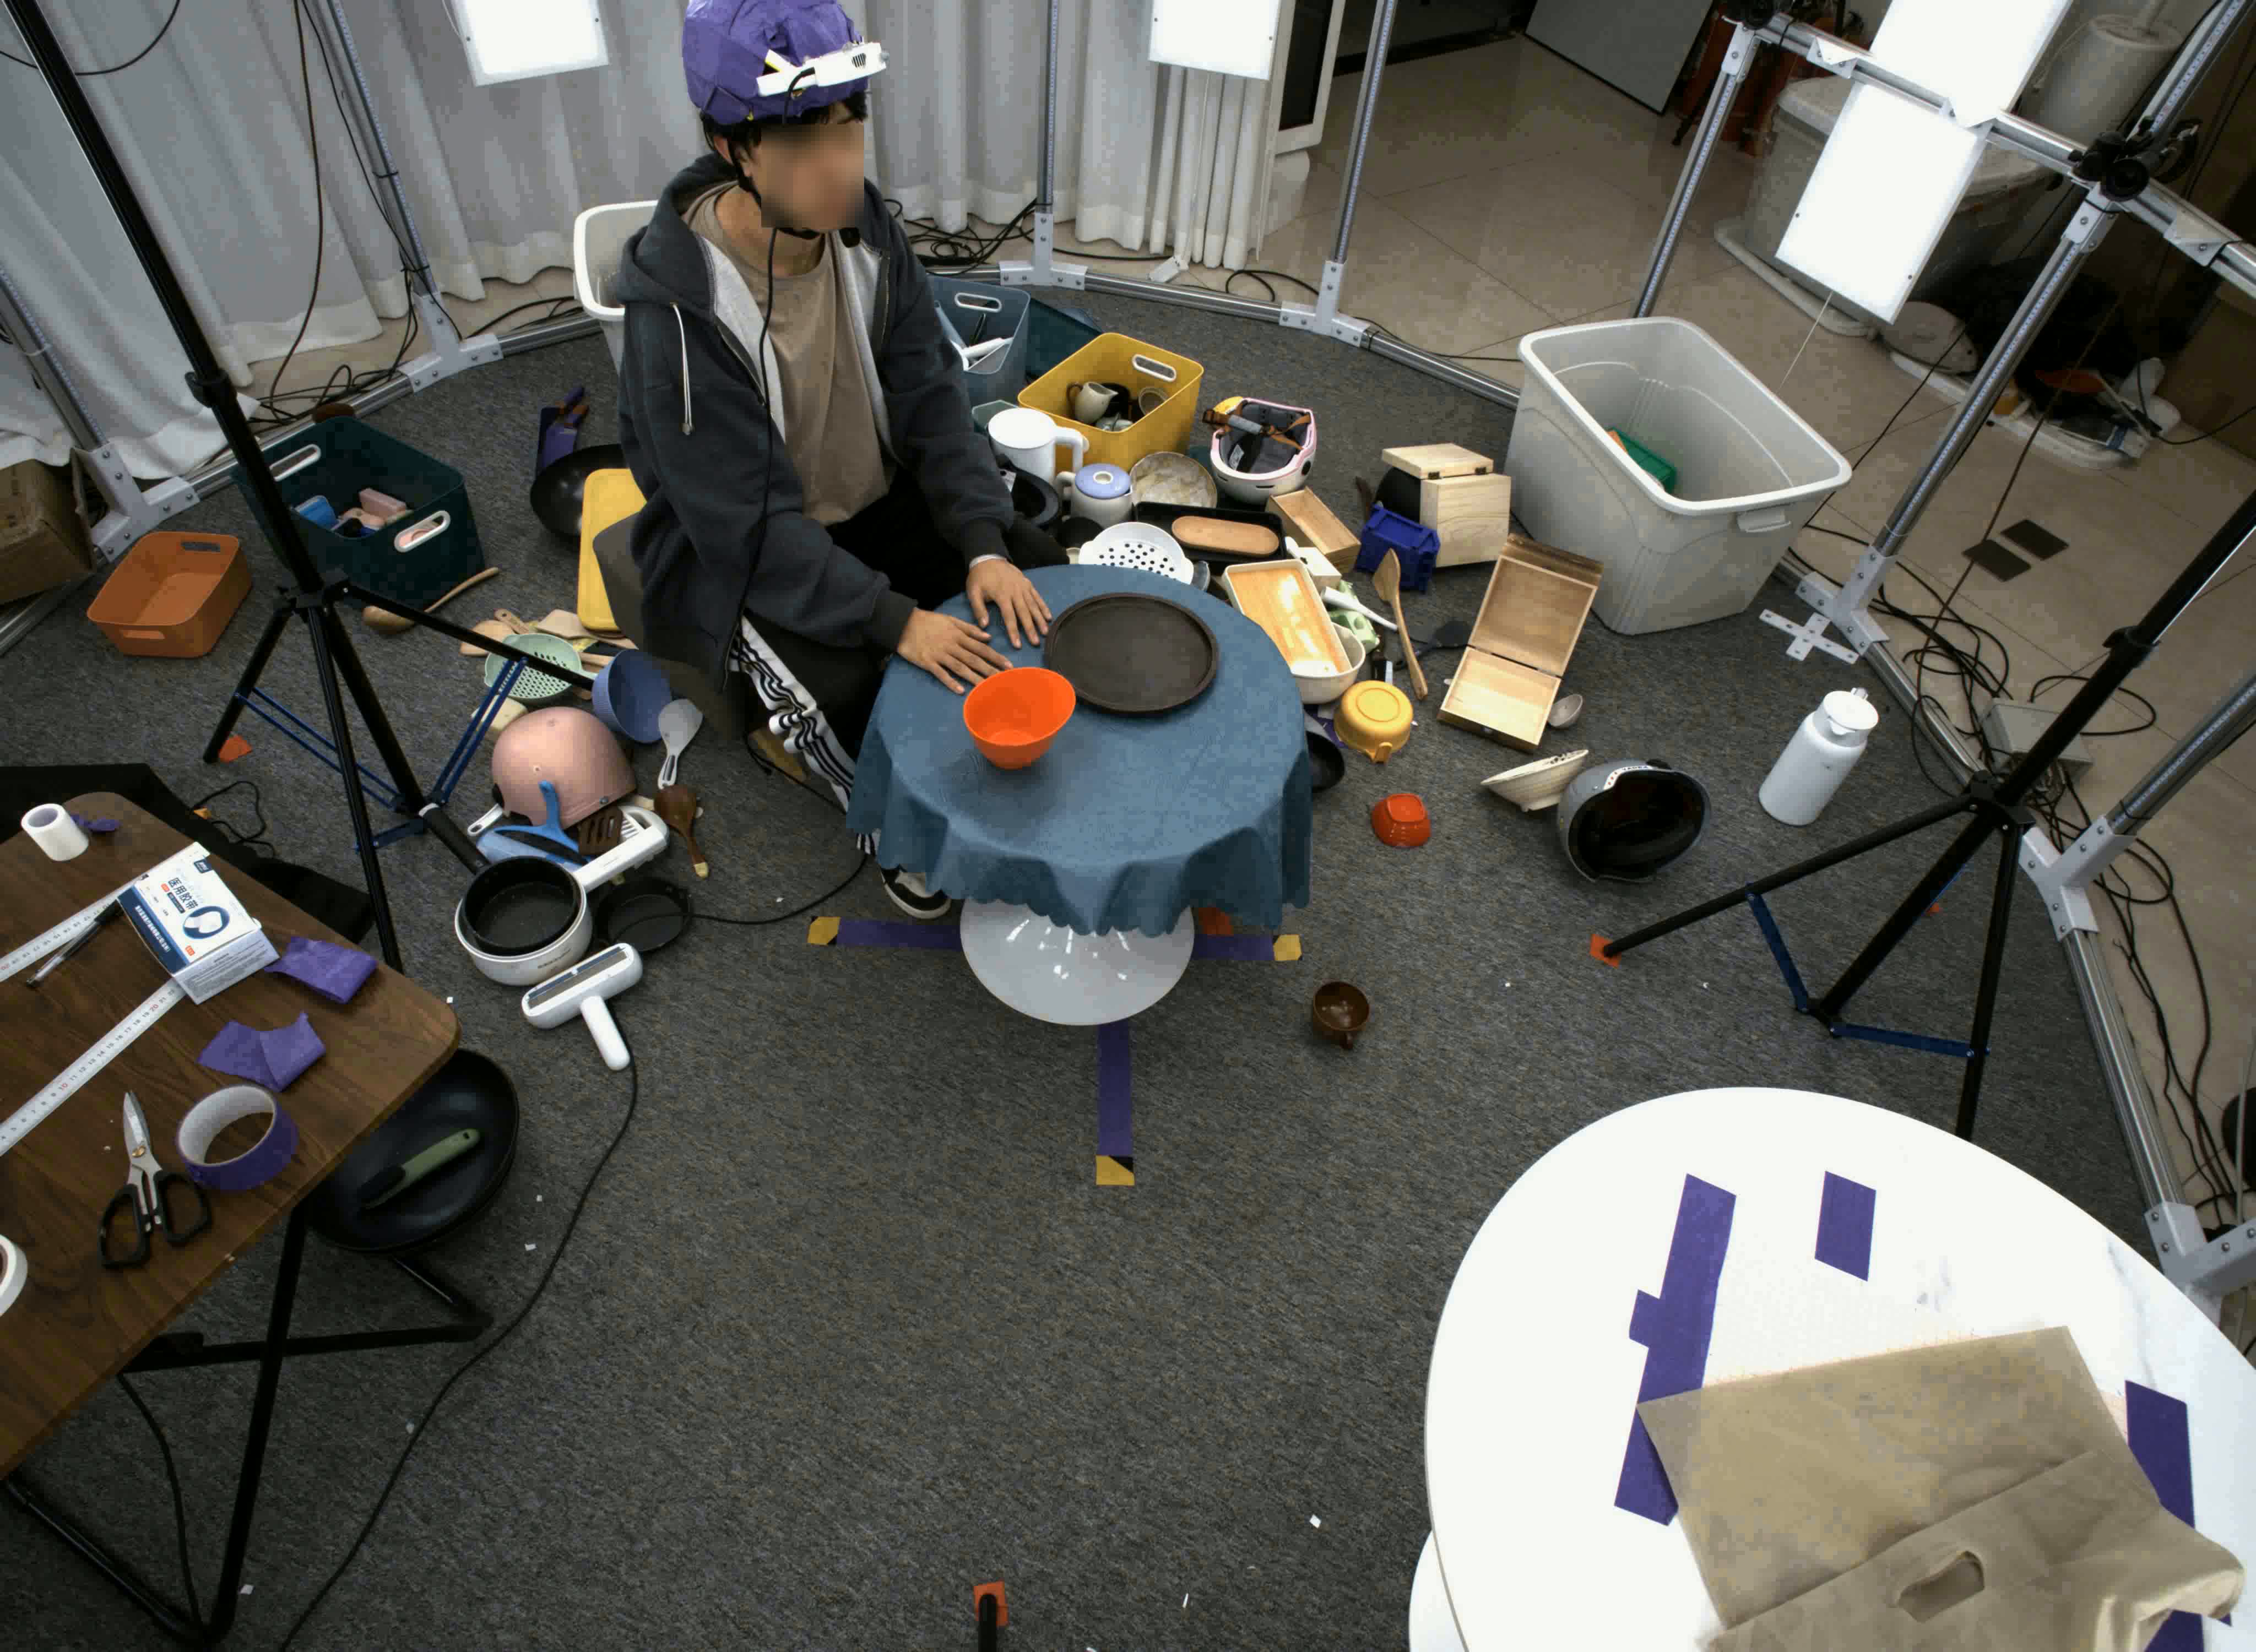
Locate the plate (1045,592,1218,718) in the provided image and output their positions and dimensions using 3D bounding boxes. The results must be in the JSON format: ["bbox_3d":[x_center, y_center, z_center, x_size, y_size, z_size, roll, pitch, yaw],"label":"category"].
[{"bbox_3d":[0.005,-0.250,1.869,0.254,0.028,0.261,1,50,-2],"label":"plate"}]

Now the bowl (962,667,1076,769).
[{"bbox_3d":[-0.145,-0.131,1.704,0.148,0.102,0.152,2,51,-2],"label":"bowl"}]
